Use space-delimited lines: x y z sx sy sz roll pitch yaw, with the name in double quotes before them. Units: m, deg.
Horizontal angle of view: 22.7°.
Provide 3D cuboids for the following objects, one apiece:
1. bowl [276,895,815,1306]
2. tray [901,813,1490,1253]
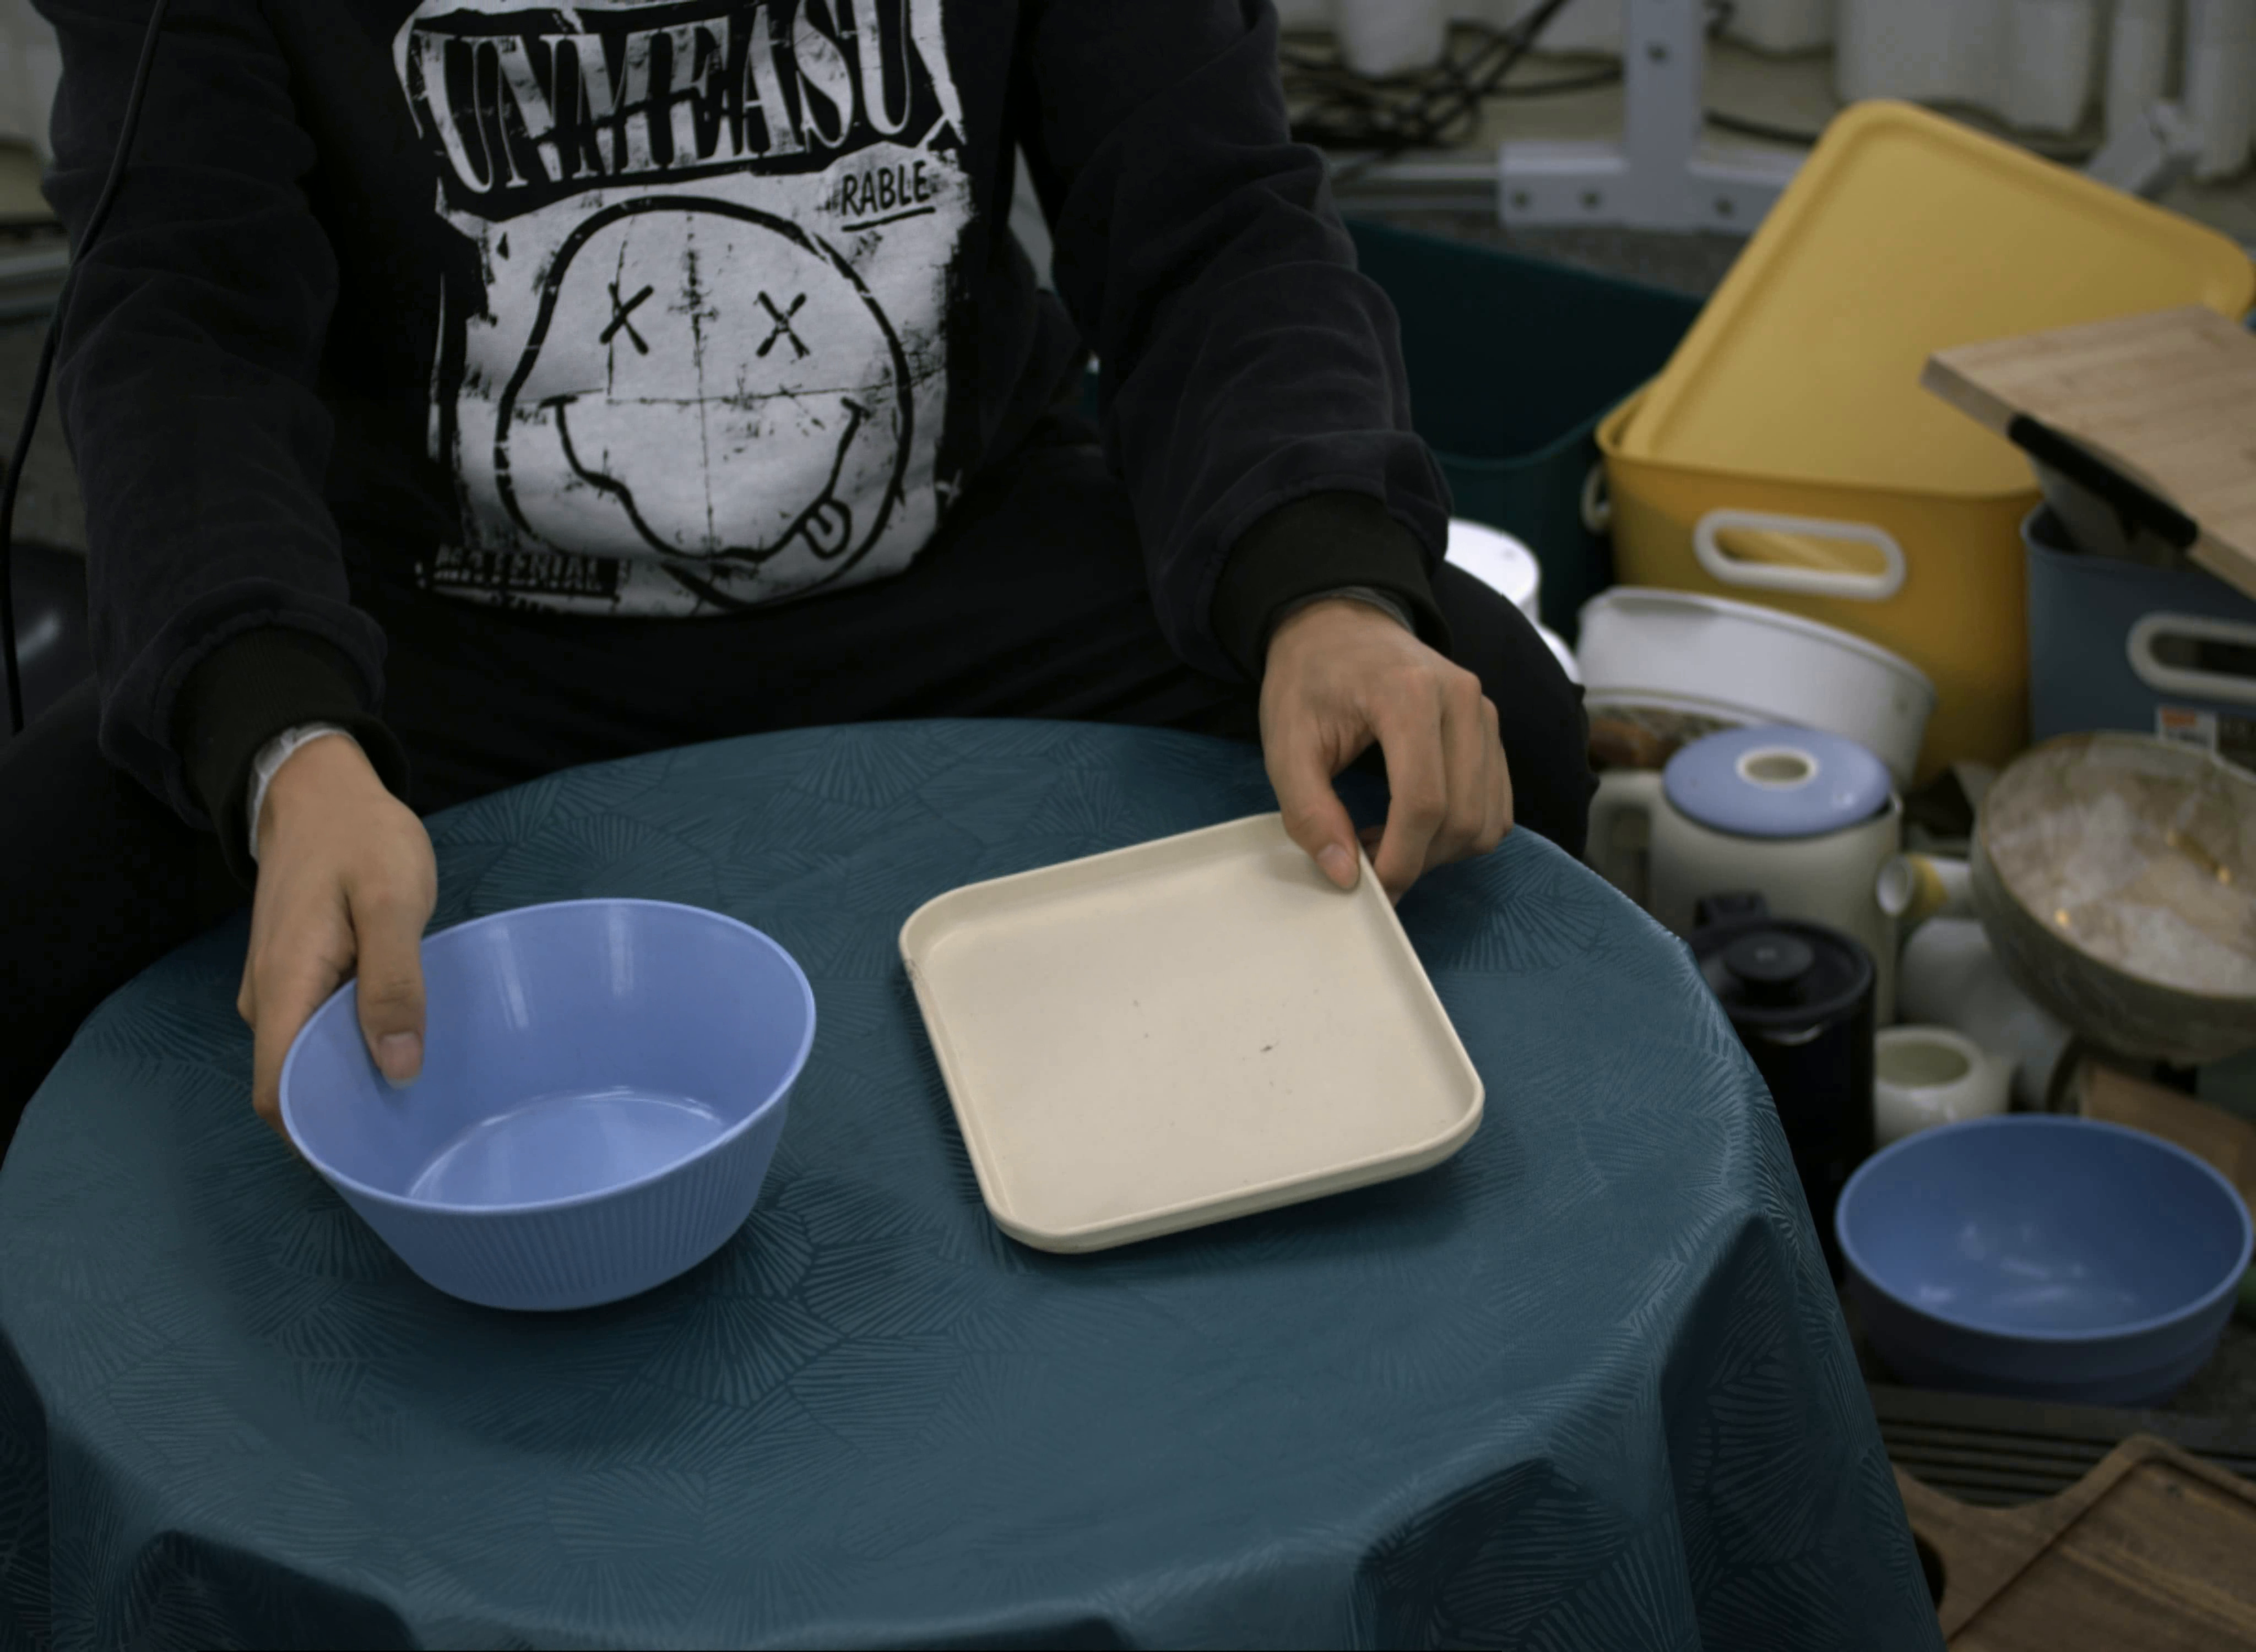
"bowl" -0.185 0.097 1.830 0.175 0.069 0.179 -4 32 3
"tray" 0.020 0.070 1.923 0.171 0.017 0.242 -13 28 -6
